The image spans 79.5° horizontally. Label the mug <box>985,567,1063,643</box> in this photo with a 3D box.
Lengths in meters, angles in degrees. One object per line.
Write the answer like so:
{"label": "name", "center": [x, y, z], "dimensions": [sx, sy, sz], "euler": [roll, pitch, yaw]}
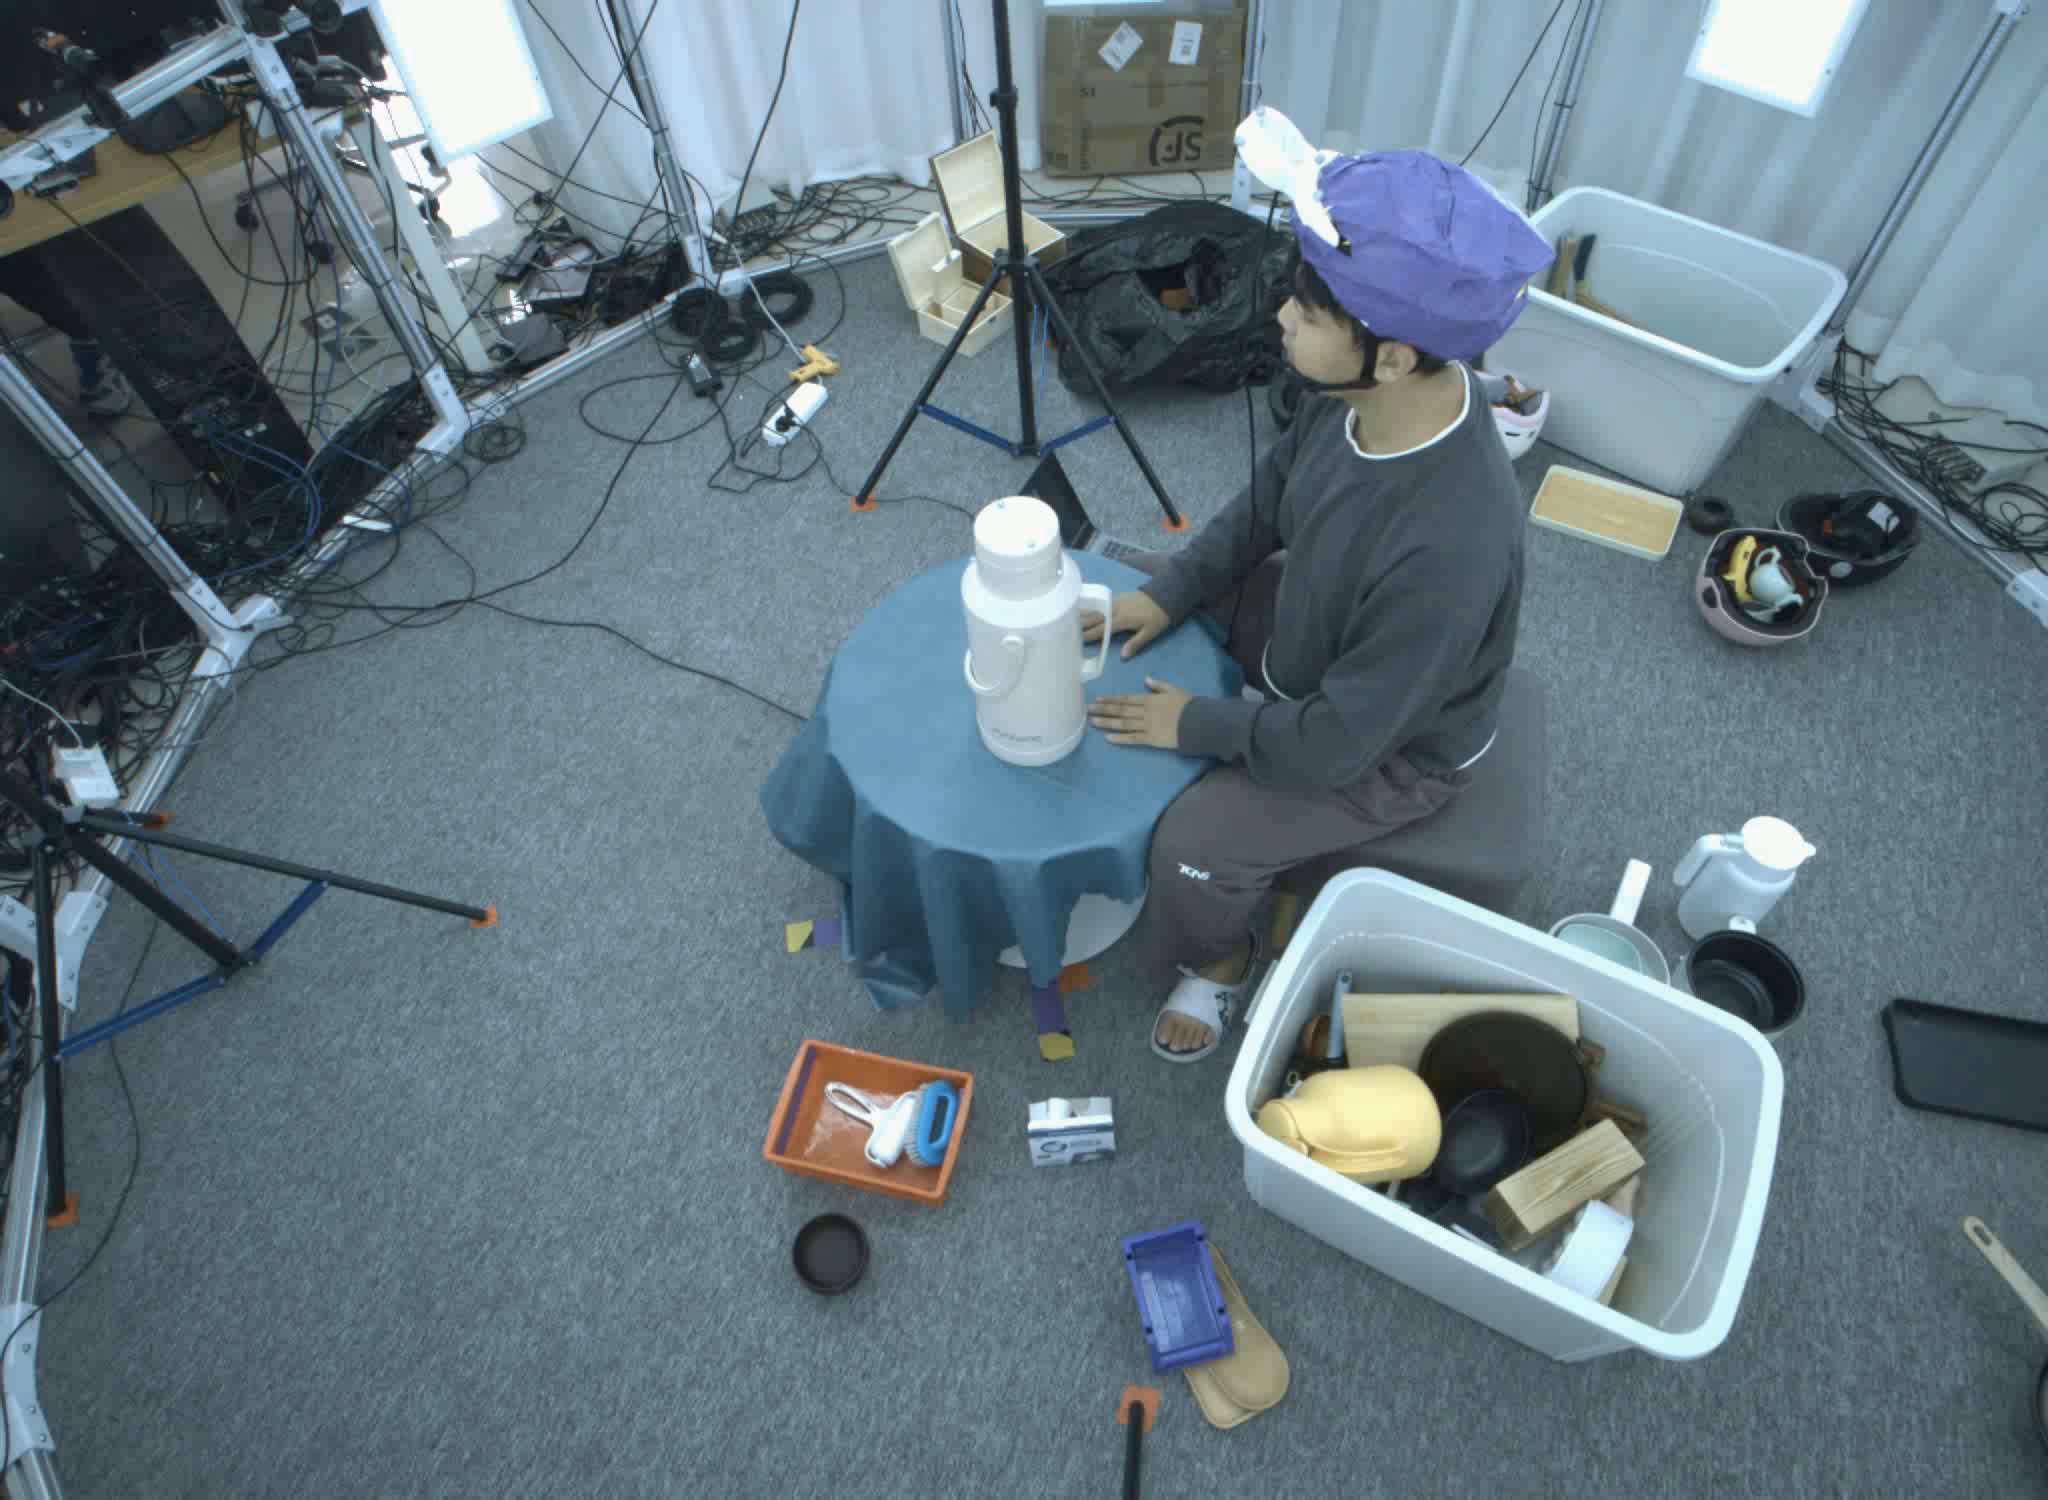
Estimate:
{"label": "mug", "center": [-0.001, -0.220, 1.887], "dimensions": [0.122, 0.091, 0.093], "euler": [9, 56, 9]}

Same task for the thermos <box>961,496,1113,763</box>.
{"label": "thermos", "center": [0.016, -0.156, 1.653], "dimensions": [0.206, 0.411, 0.174], "euler": [3, 55, 6]}
